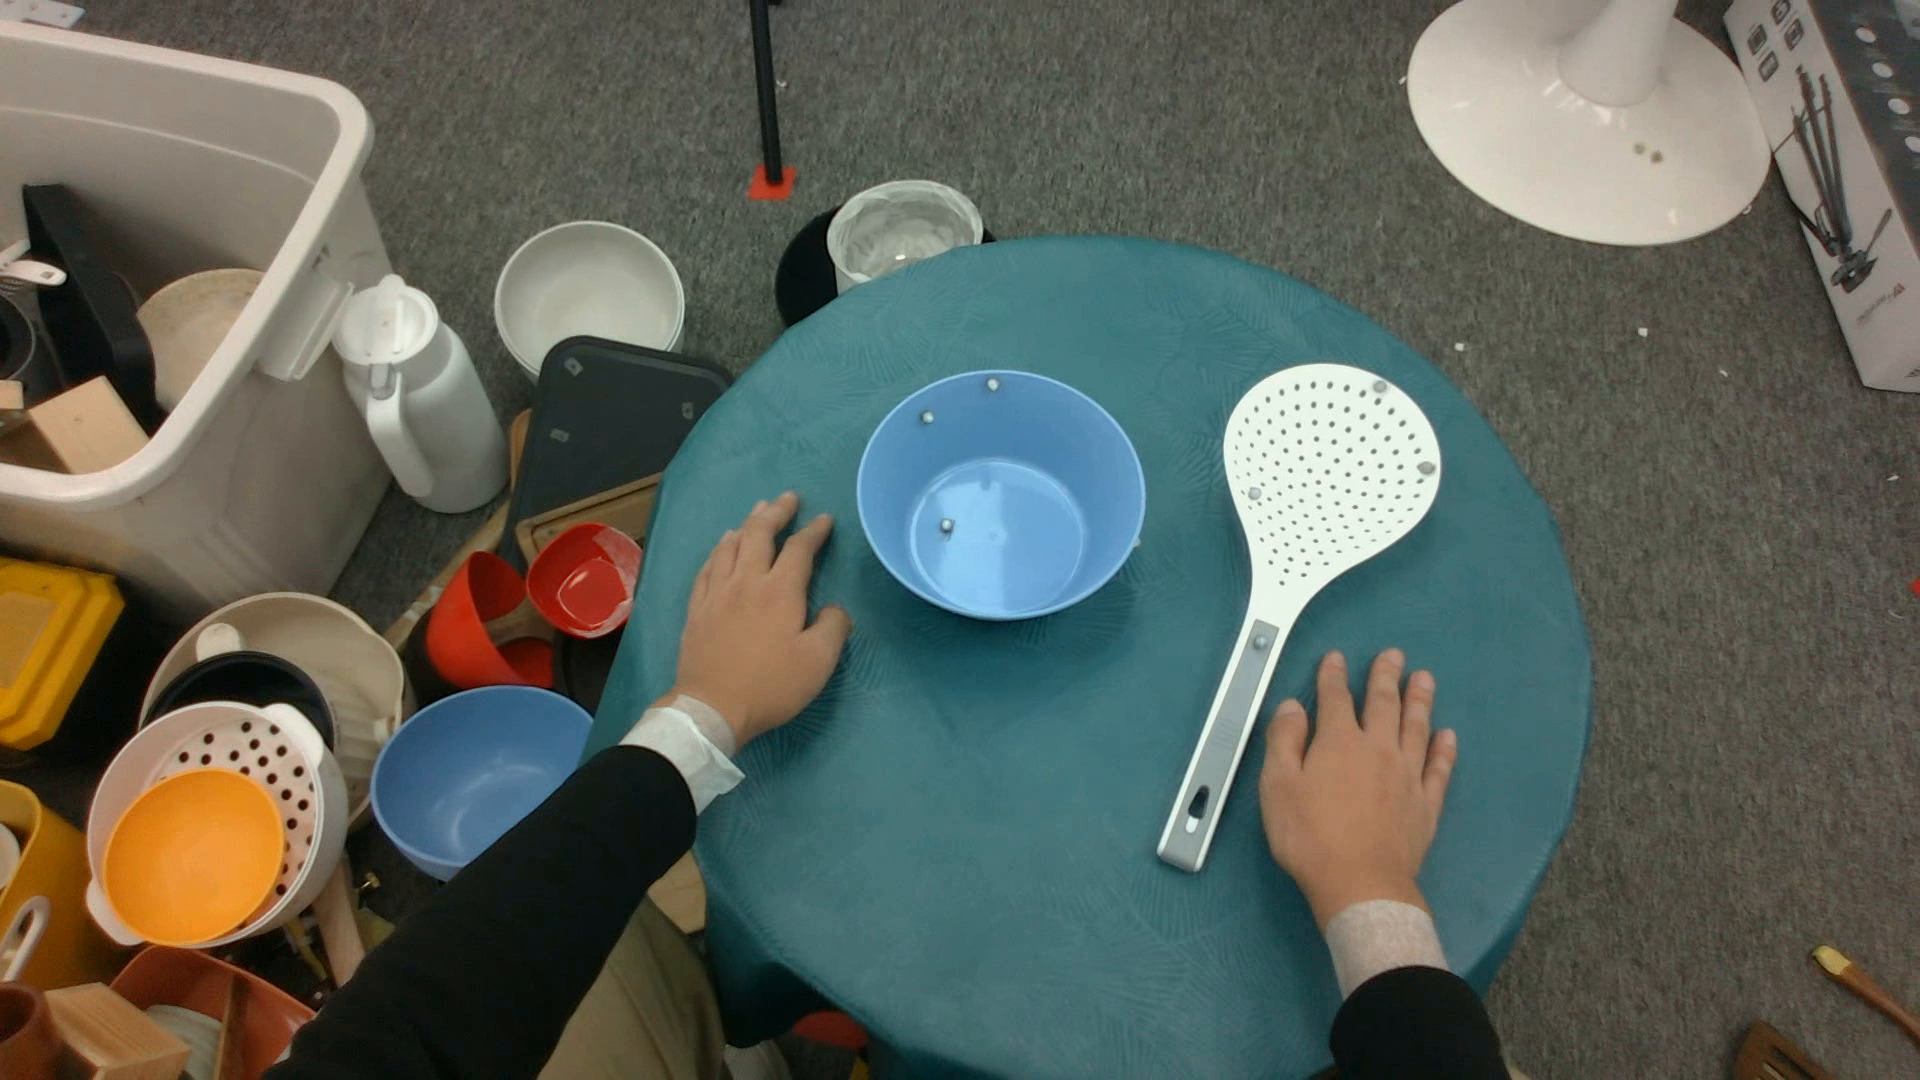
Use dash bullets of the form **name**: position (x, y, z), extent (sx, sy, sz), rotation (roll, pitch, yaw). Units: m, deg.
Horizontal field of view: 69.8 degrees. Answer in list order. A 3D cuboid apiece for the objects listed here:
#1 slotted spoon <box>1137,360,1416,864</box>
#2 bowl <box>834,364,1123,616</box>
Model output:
- **slotted spoon**: position (0.183, 0.036, 0.853), extent (0.136, 0.045, 0.351), rotation (22, 63, 9)
- **bowl**: position (0.010, -0.019, 0.860), extent (0.176, 0.070, 0.177), rotation (1, 62, -2)
